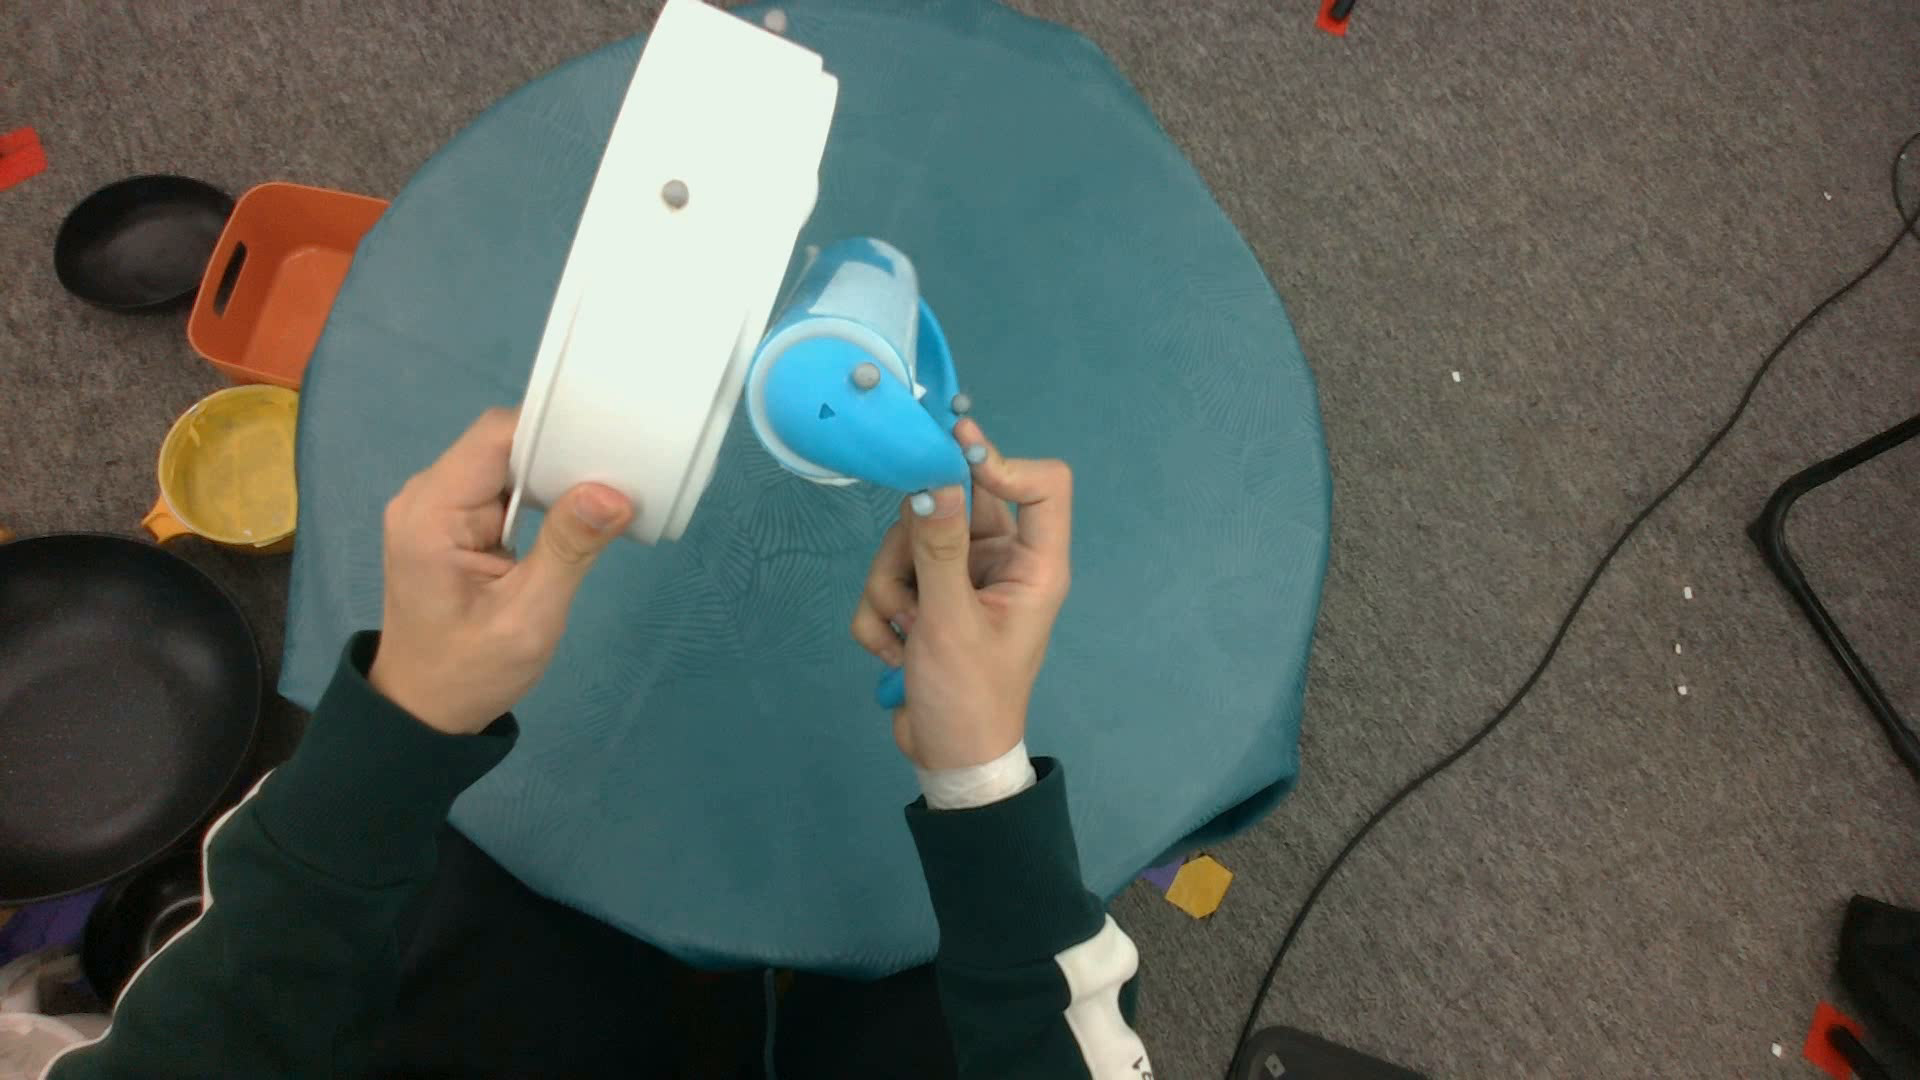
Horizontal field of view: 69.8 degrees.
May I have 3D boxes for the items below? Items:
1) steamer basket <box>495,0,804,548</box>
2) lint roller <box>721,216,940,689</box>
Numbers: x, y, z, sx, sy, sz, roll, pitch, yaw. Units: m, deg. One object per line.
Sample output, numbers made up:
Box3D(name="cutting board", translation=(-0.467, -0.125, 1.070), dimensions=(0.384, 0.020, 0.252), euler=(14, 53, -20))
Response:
Box3D(name="steamer basket", translation=(-0.115, -0.101, 0.523), dimensions=(0.069, 0.201, 0.231), euler=(16, 83, -14))
Box3D(name="lint roller", translation=(-0.040, -0.029, 0.541), dimensions=(0.068, 0.229, 0.180), euler=(-17, 114, 0))
